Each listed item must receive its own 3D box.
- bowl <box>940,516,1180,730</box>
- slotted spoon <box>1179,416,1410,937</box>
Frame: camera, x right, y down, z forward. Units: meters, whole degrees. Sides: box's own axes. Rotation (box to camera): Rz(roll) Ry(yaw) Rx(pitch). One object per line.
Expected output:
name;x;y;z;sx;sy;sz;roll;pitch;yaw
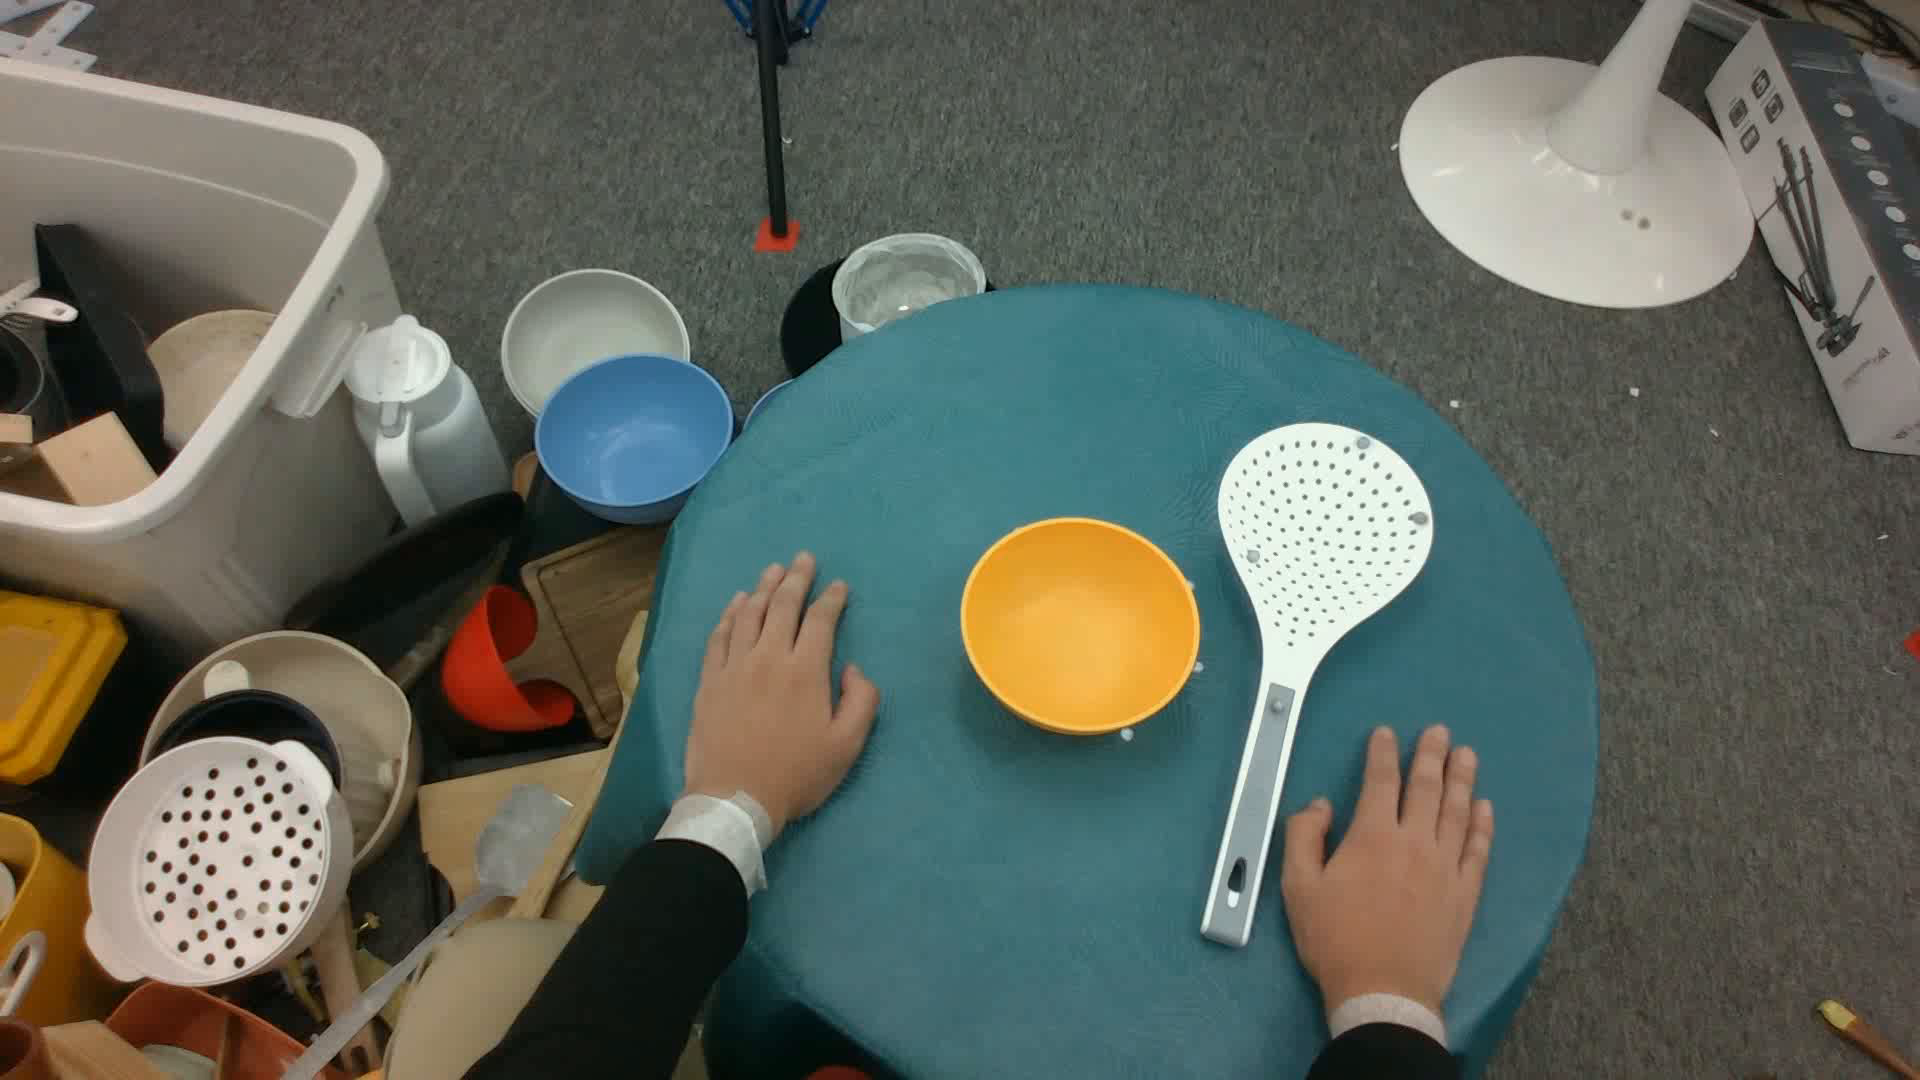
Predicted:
bowl;0.058;0.060;0.844;0.145;0.060;0.146;2;56;-2
slotted spoon;0.190;0.073;0.851;0.136;0.045;0.351;17;59;7
